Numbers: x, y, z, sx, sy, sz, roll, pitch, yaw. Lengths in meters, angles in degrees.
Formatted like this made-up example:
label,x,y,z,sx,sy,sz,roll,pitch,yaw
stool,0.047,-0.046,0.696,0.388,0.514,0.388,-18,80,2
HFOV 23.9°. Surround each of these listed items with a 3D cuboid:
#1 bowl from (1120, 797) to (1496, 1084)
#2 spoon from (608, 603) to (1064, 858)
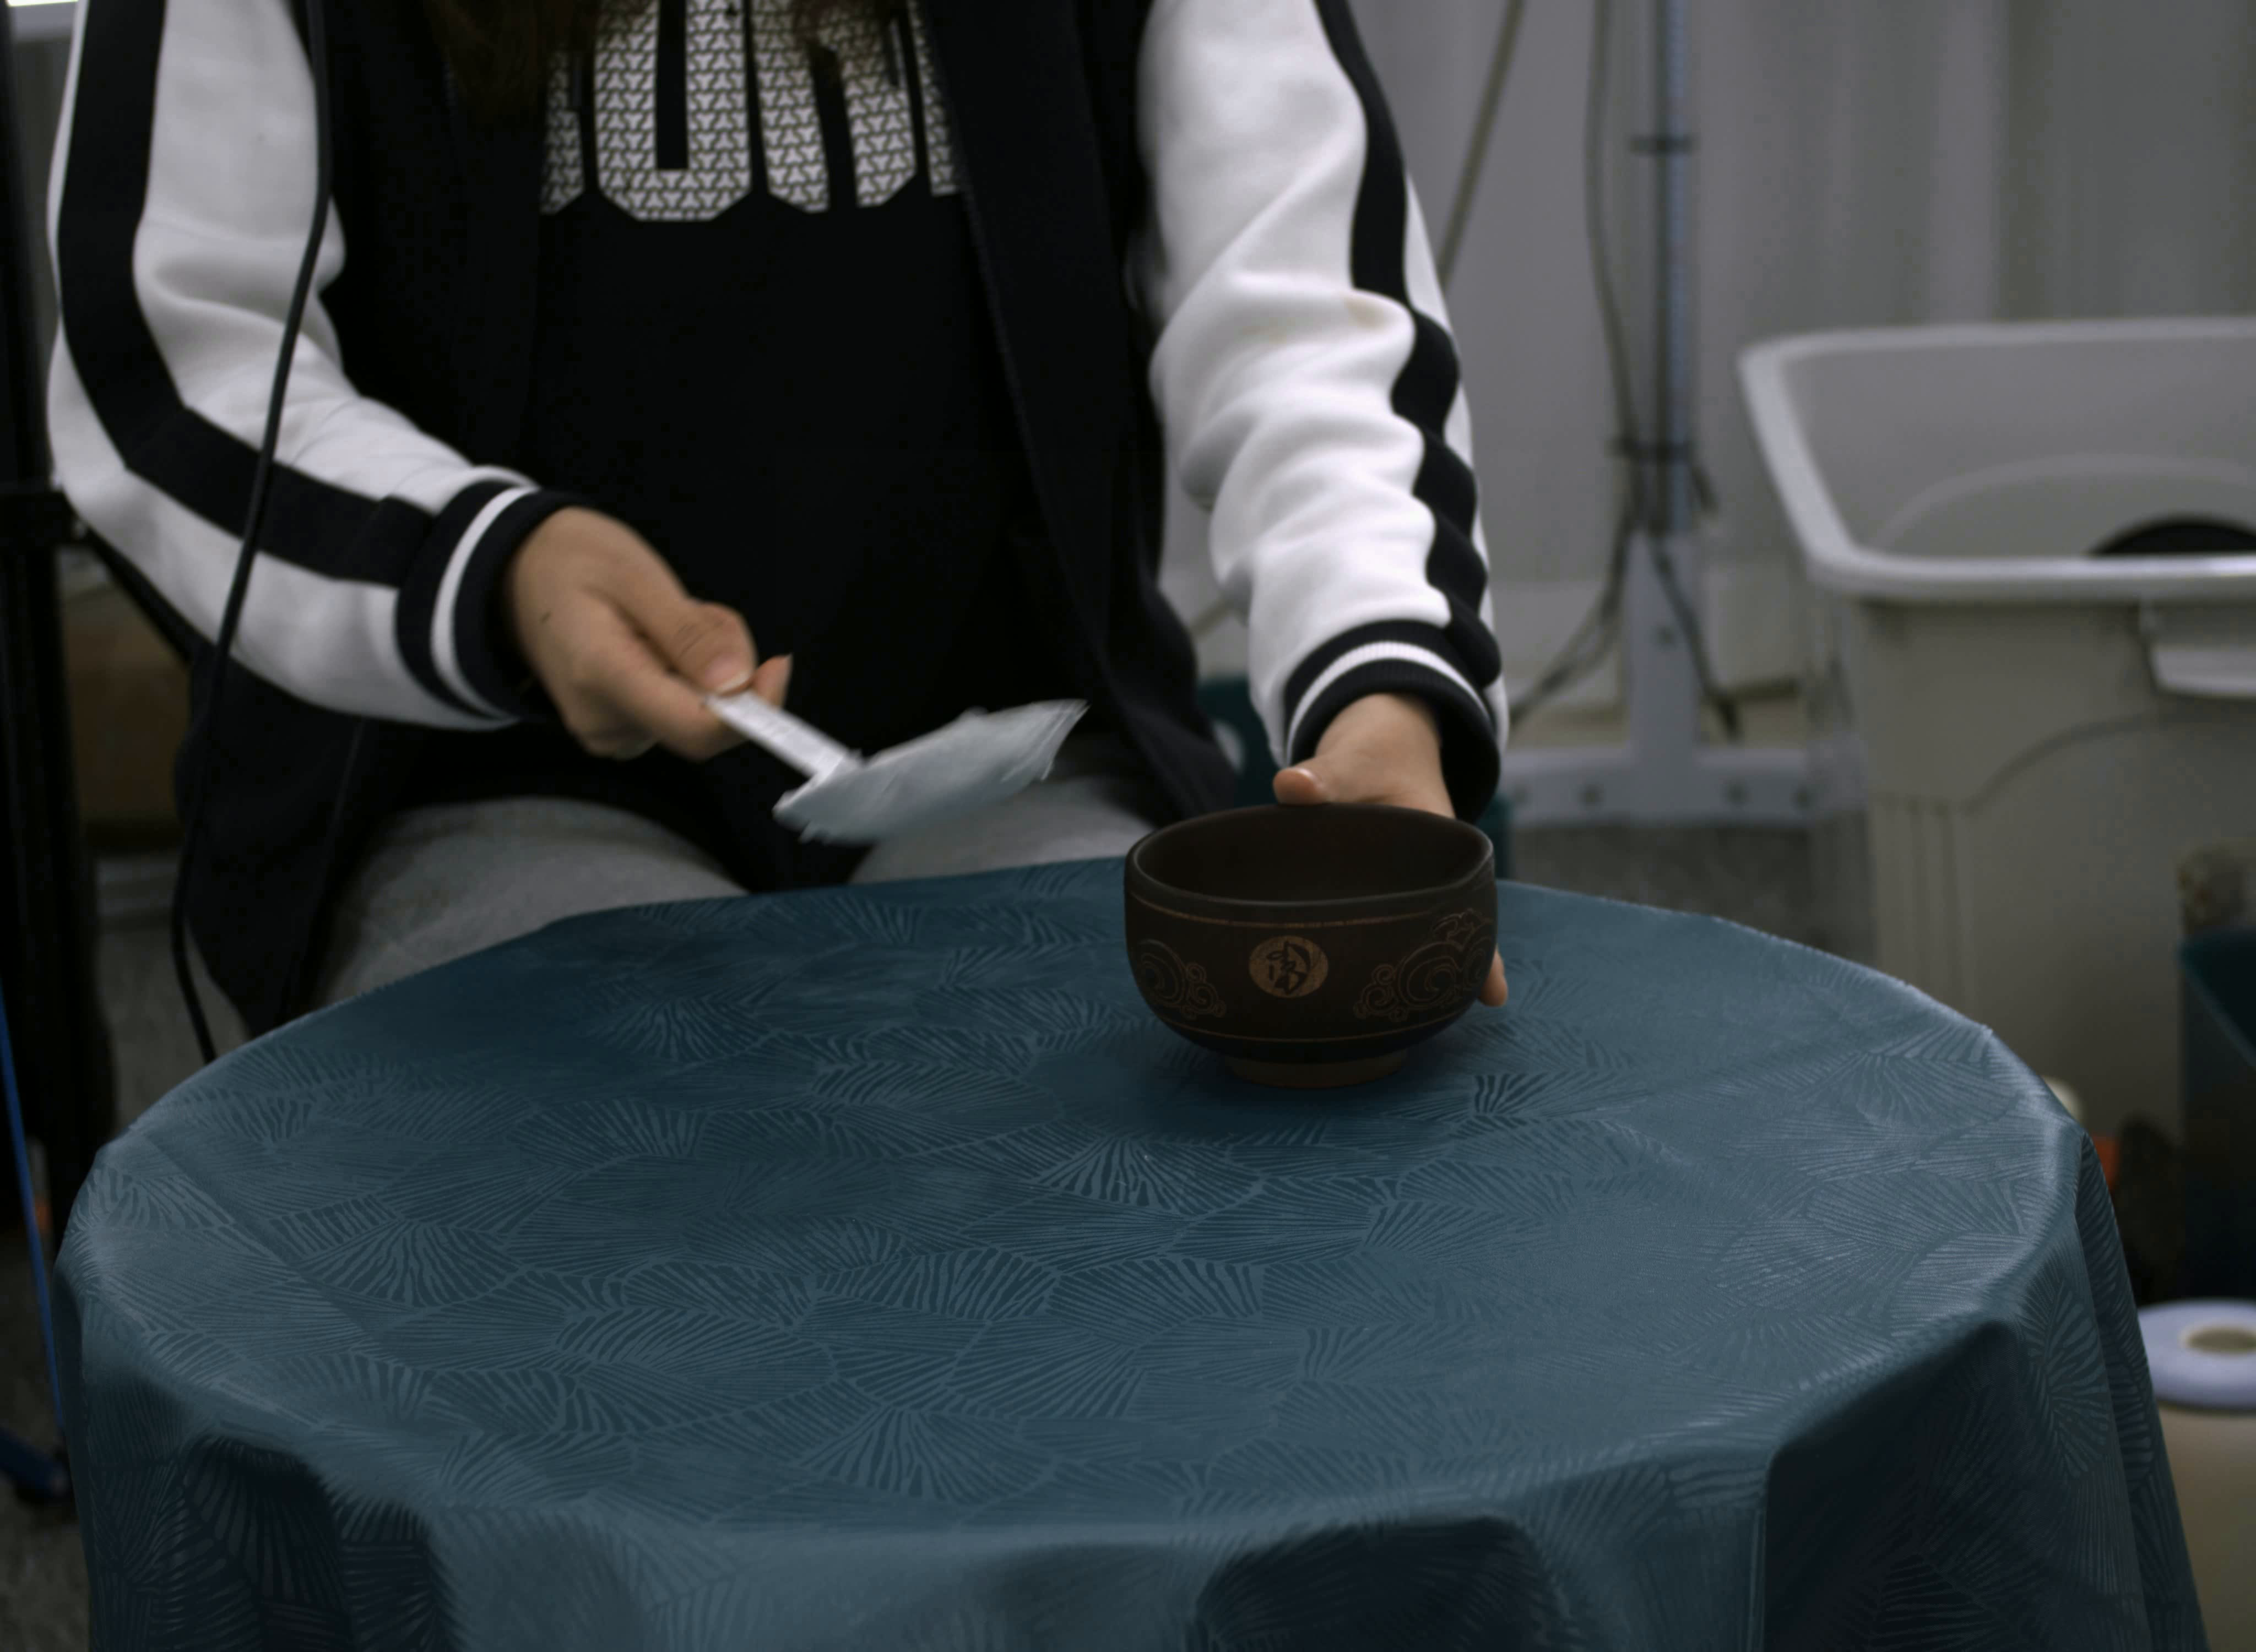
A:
label,x,y,z,sx,sy,sz,roll,pitch,yaw
bowl,0.057,0.039,1.657,0.117,0.070,0.118,-2,15,-1
spoon,-0.104,-0.048,1.658,0.099,0.059,0.283,-14,26,-22
